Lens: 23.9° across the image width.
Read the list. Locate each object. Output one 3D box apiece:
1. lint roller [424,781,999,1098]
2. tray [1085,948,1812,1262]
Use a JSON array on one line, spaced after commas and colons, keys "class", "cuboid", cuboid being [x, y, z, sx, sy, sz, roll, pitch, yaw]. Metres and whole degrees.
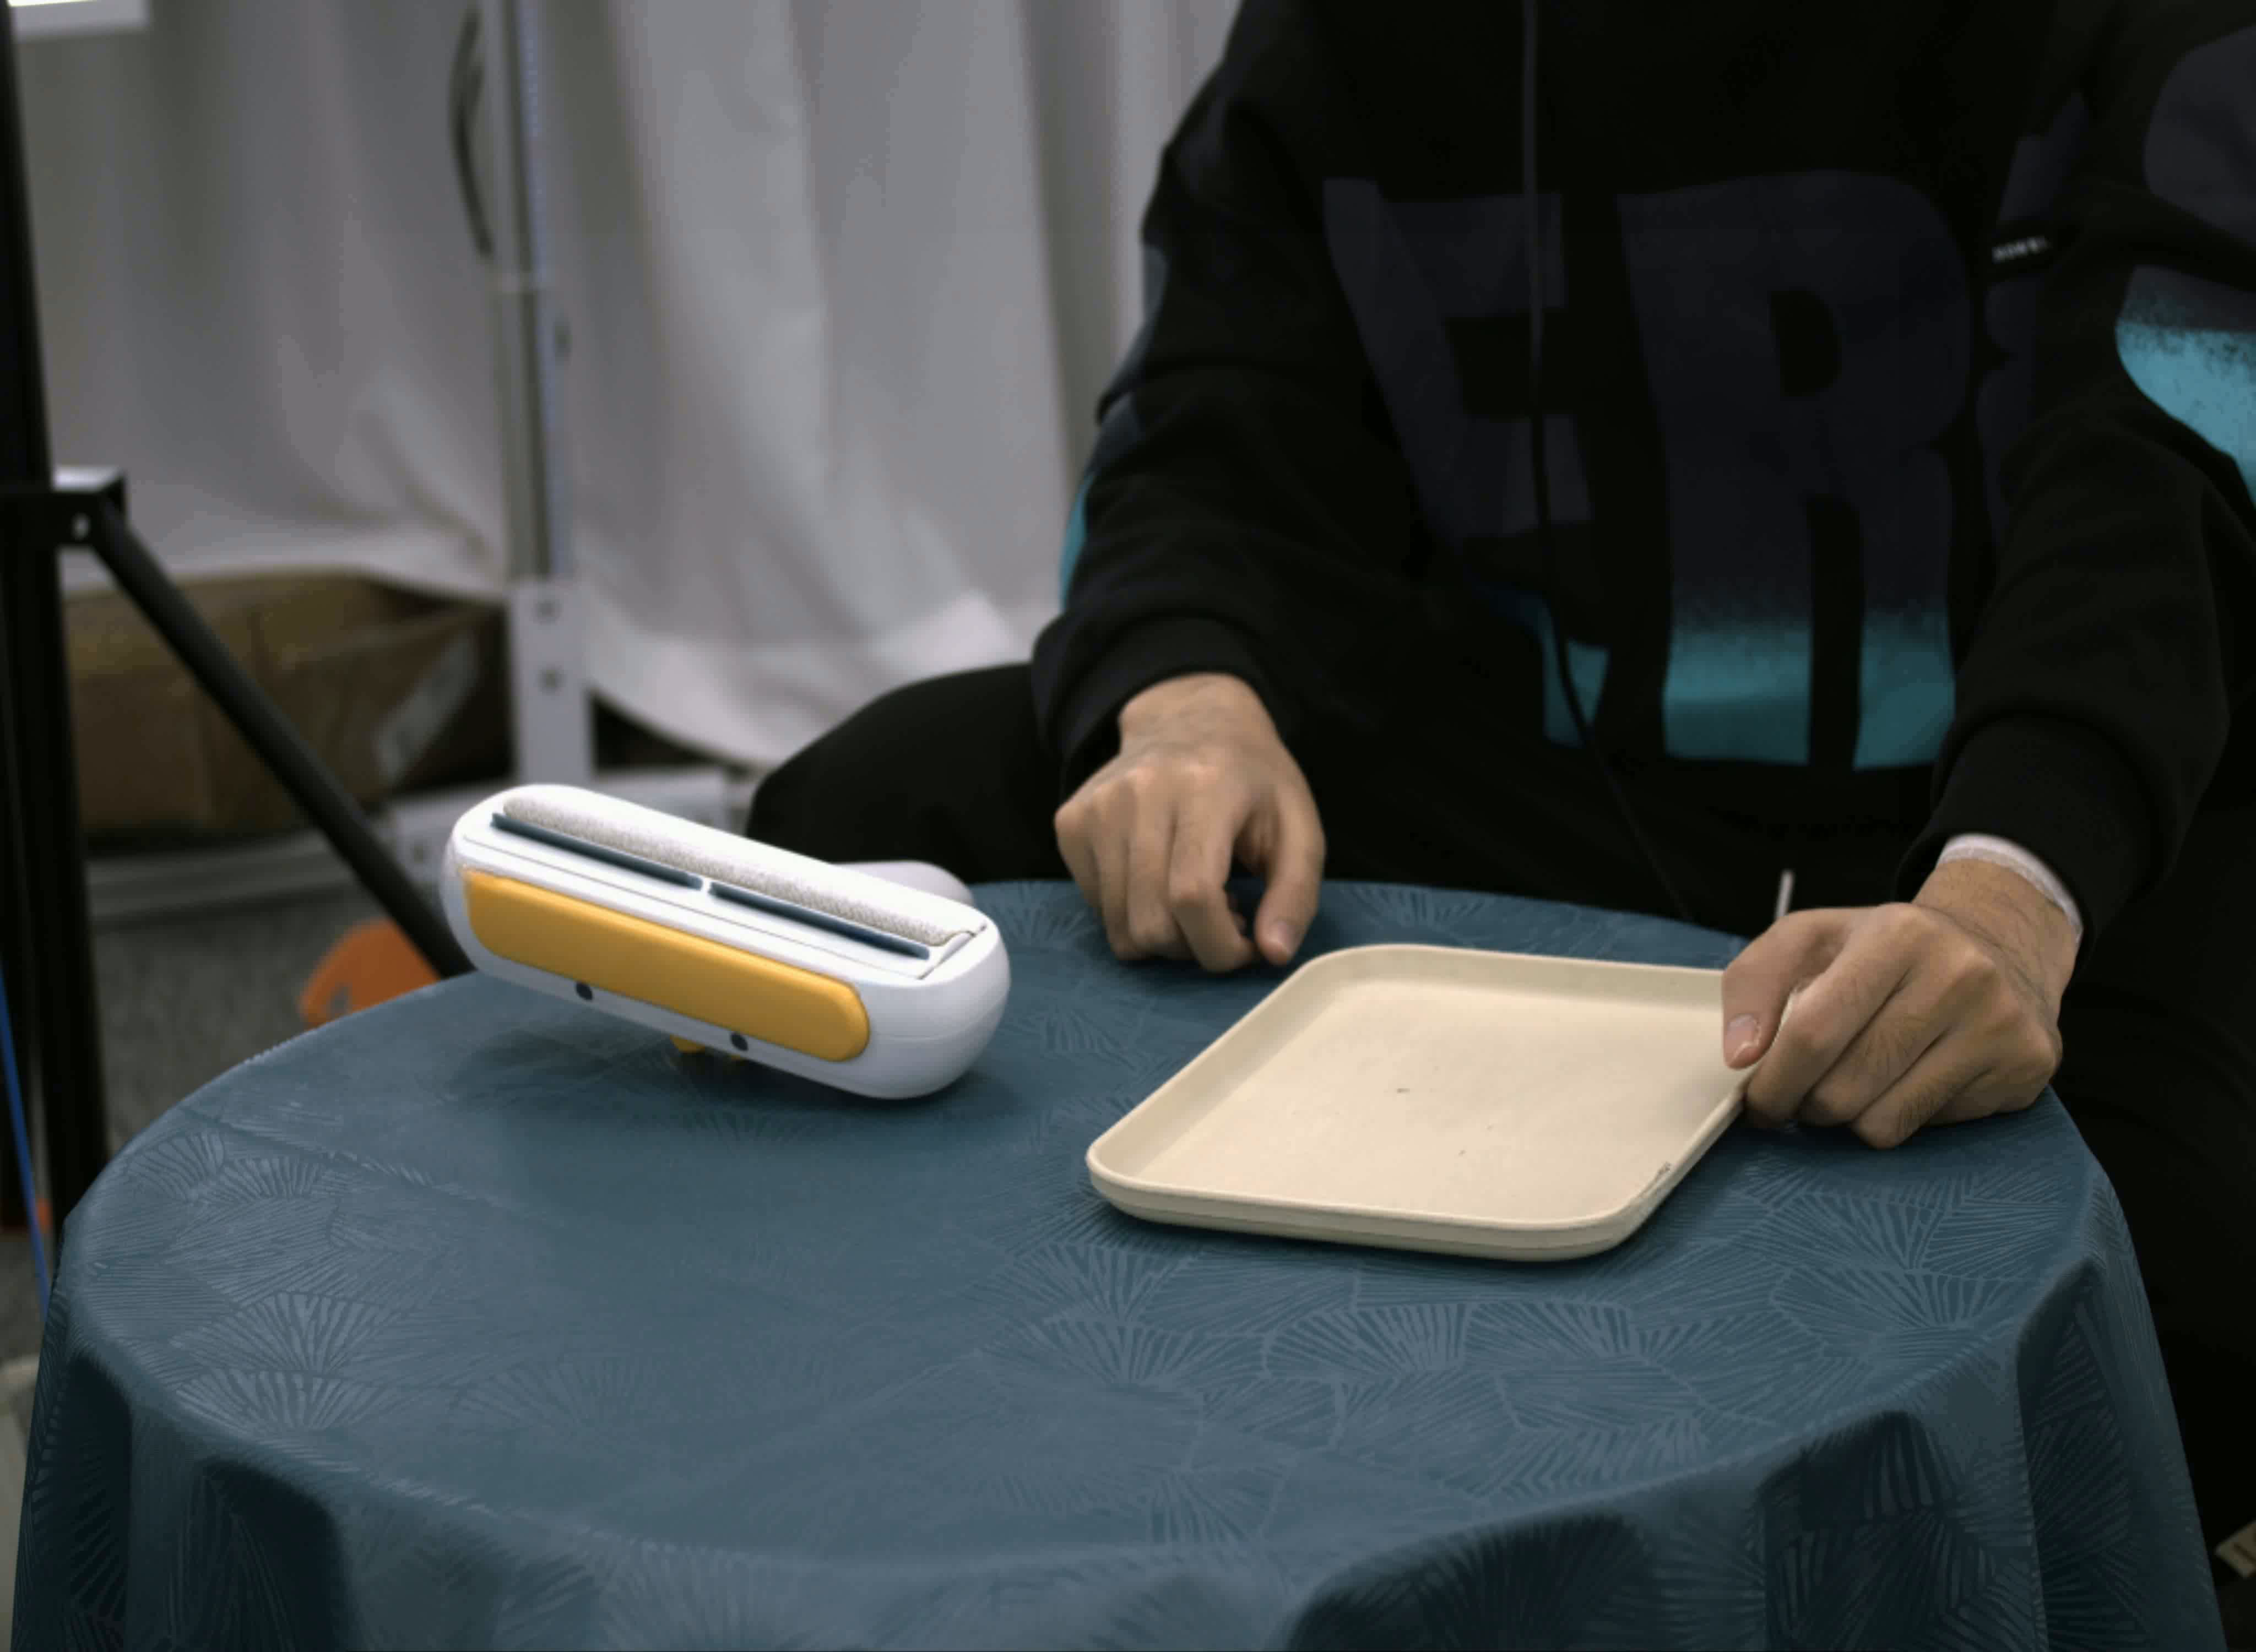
[{"class": "lint roller", "cuboid": [-0.105, 0.028, 1.736, 0.196, 0.074, 0.189, 13, 20, 30]}, {"class": "tray", "cuboid": [0.101, 0.083, 1.597, 0.173, 0.017, 0.236, 4, 17, 23]}]
